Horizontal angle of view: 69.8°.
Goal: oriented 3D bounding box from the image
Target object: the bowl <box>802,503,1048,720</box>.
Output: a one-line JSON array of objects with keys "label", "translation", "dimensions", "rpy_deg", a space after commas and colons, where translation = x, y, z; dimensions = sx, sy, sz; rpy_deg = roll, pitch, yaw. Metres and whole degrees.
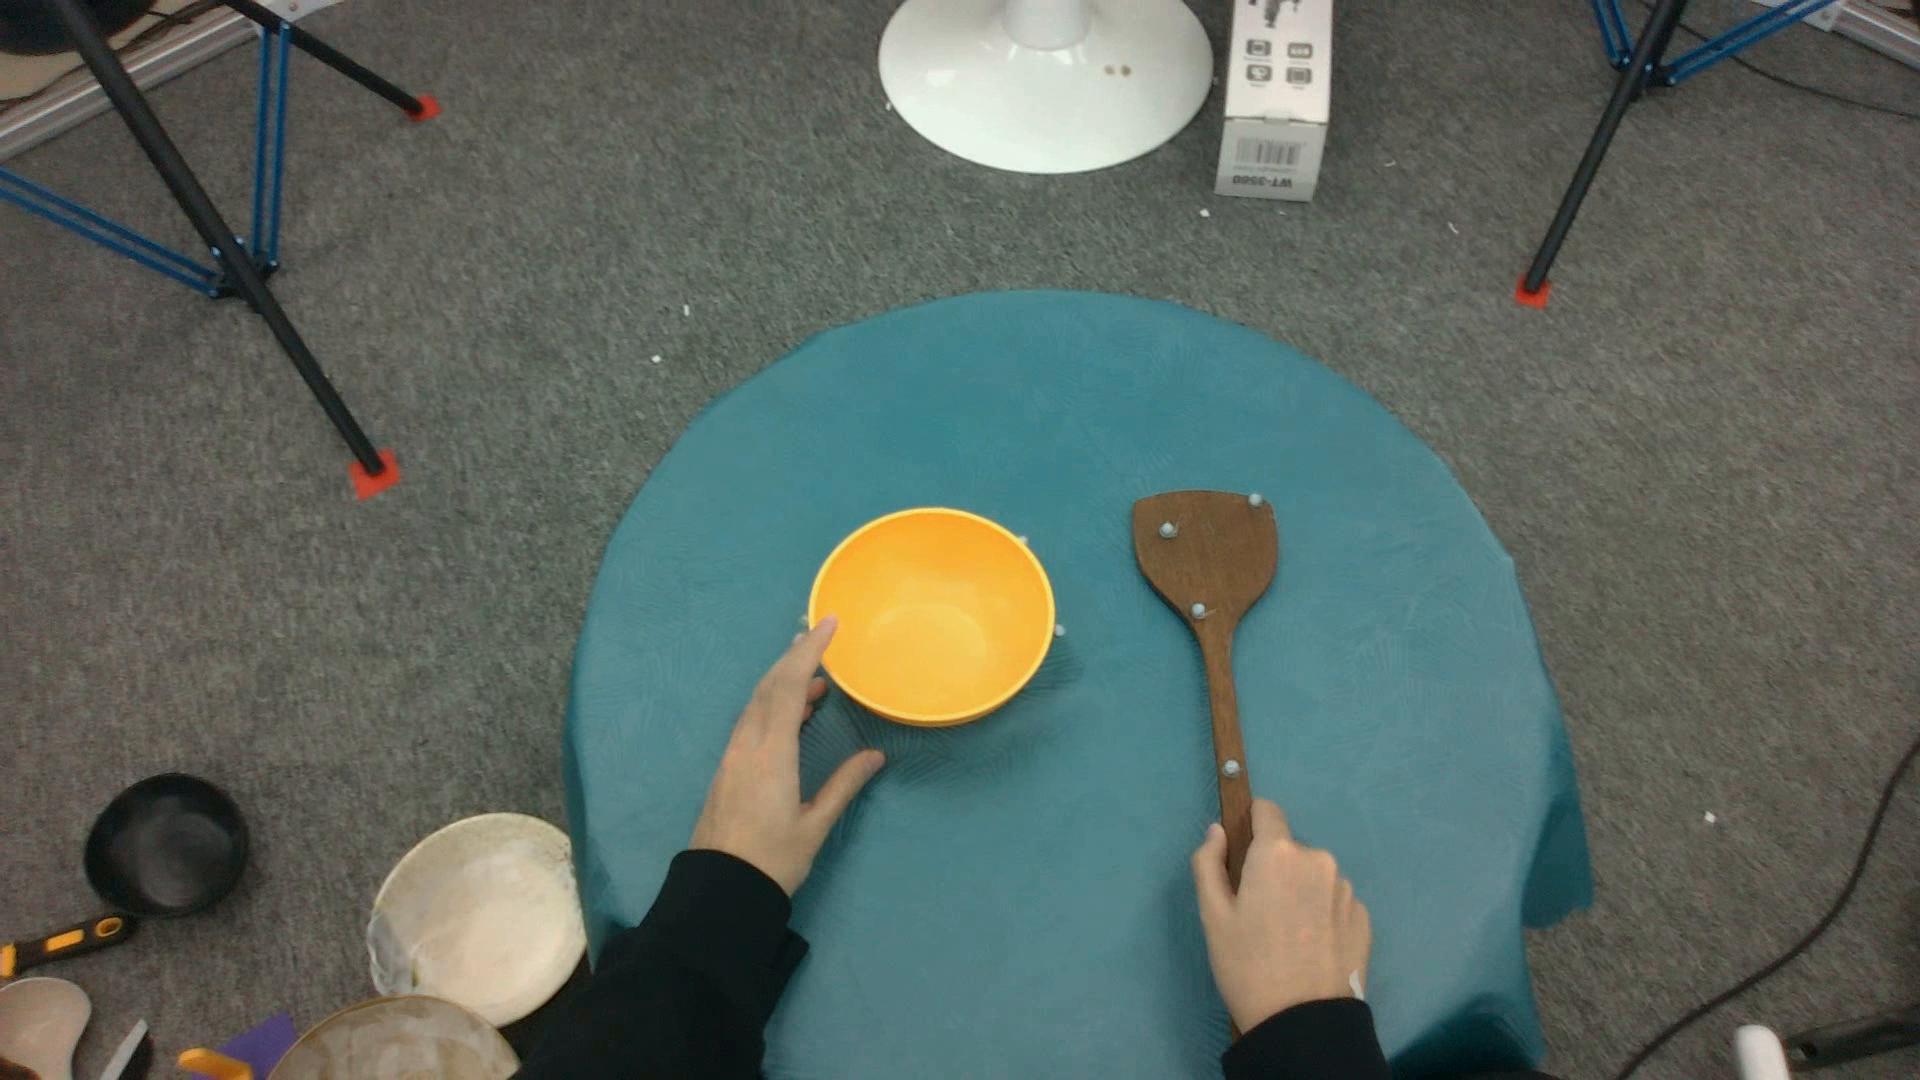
[{"label": "bowl", "translation": [-0.019, 0.052, 0.829], "dimensions": [0.145, 0.060, 0.146], "rpy_deg": [-1, 57, 2]}]

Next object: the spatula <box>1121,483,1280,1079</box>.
[{"label": "spatula", "translation": [0.150, 0.115, 0.800], "dimensions": [0.096, 0.016, 0.388], "rpy_deg": [1, 51, 1]}]
